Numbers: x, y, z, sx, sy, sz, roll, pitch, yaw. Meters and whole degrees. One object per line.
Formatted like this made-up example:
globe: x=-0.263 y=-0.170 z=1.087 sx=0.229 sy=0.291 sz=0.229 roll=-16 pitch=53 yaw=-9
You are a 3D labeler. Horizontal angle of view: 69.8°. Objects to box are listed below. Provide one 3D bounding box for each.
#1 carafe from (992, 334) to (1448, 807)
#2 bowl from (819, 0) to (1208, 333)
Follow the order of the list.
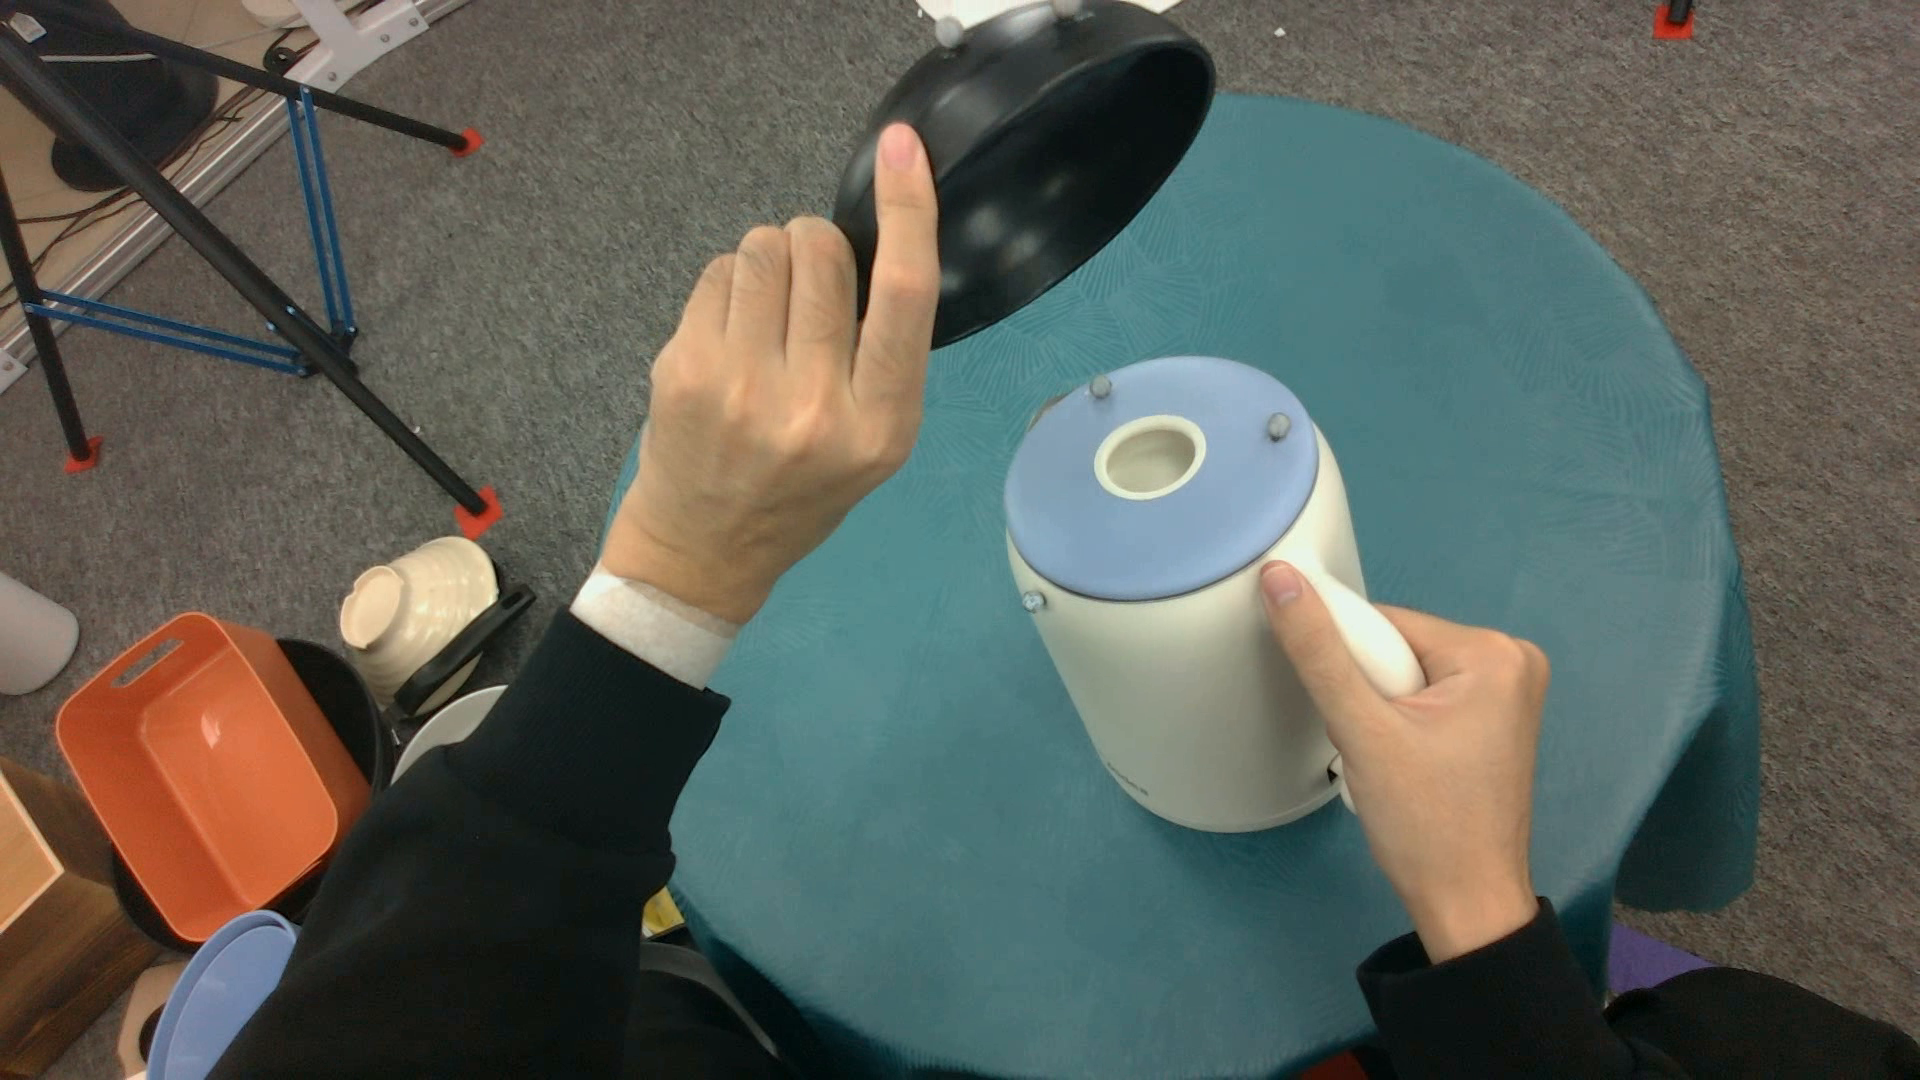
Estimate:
carafe: x=0.110 y=0.028 z=0.556 sx=0.132 sy=0.182 sz=0.191 roll=-44 pitch=51 yaw=-14
bowl: x=0.008 y=-0.127 z=0.438 sx=0.140 sy=0.140 sz=0.050 roll=-33 pitch=82 yaw=-5
